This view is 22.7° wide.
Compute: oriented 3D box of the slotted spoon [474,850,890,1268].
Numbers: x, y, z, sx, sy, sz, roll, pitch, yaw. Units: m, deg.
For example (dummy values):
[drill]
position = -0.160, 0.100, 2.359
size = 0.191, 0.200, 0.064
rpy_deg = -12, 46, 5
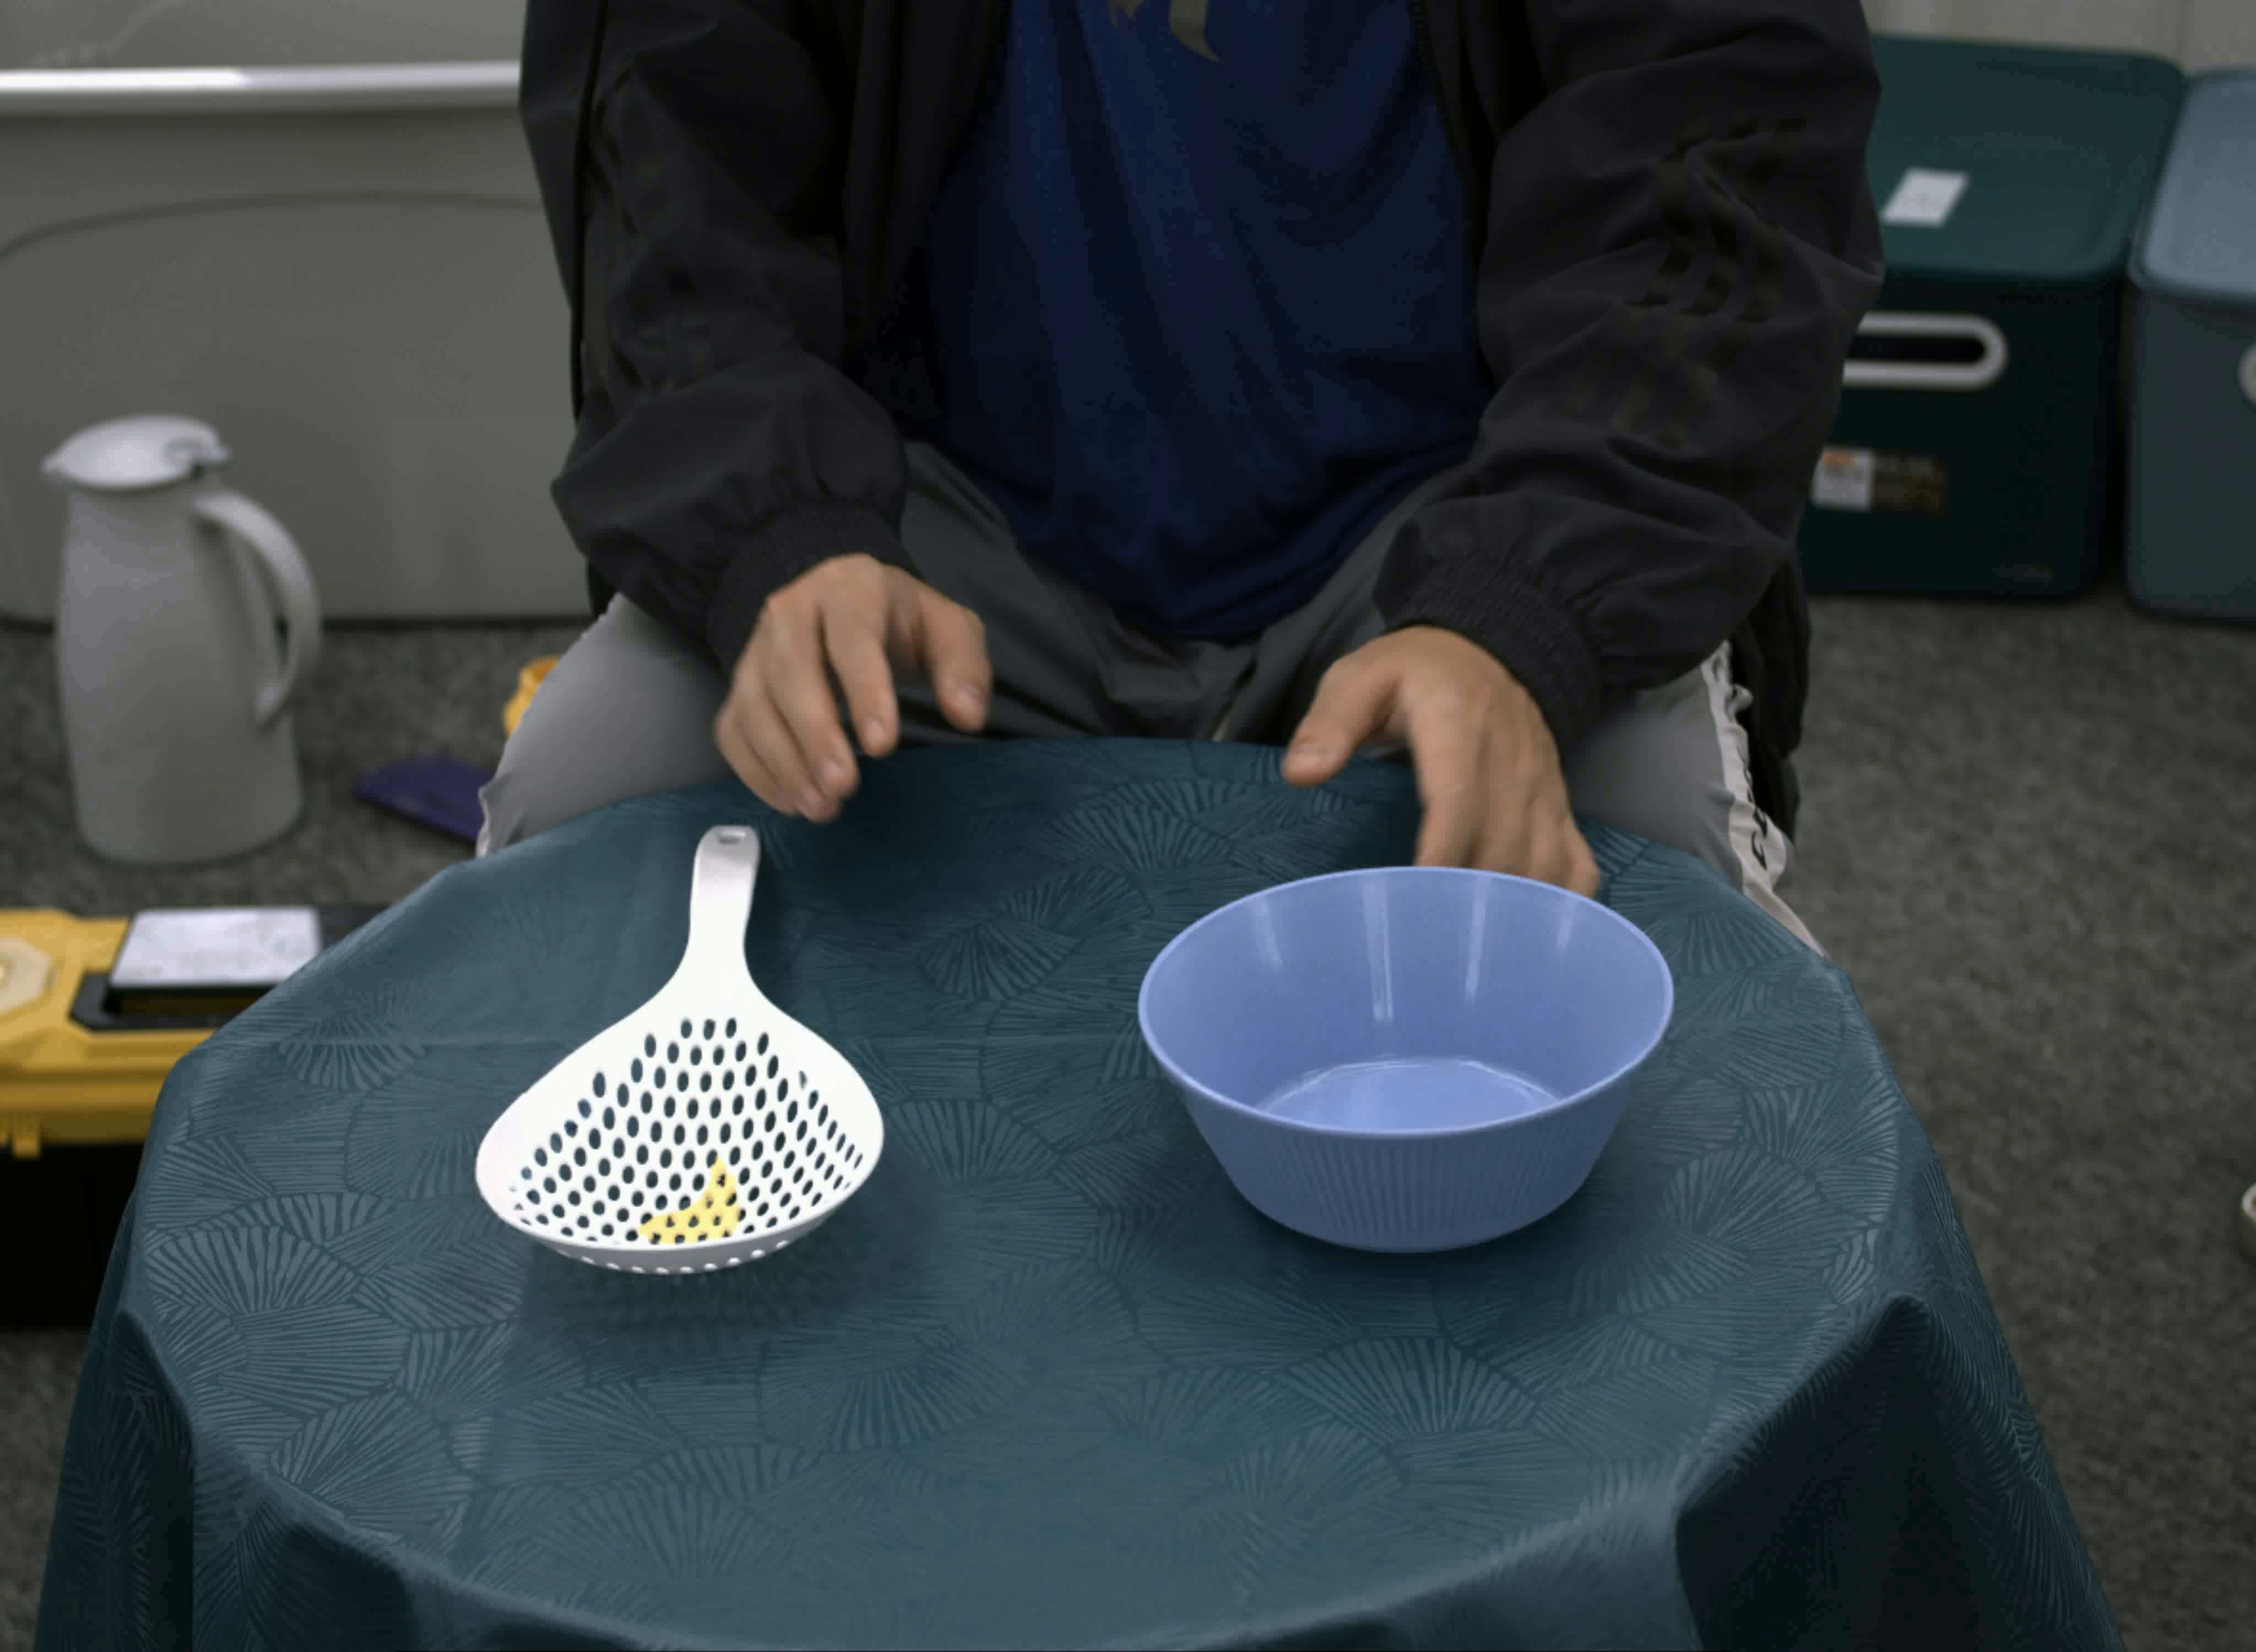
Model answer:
[slotted spoon]
position = -0.145, 0.068, 1.935
size = 0.136, 0.050, 0.353
rpy_deg = -6, 27, 1

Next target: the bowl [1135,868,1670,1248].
[bowl]
position = 0.091, 0.082, 1.853
size = 0.175, 0.069, 0.179
rpy_deg = -2, 27, 1
